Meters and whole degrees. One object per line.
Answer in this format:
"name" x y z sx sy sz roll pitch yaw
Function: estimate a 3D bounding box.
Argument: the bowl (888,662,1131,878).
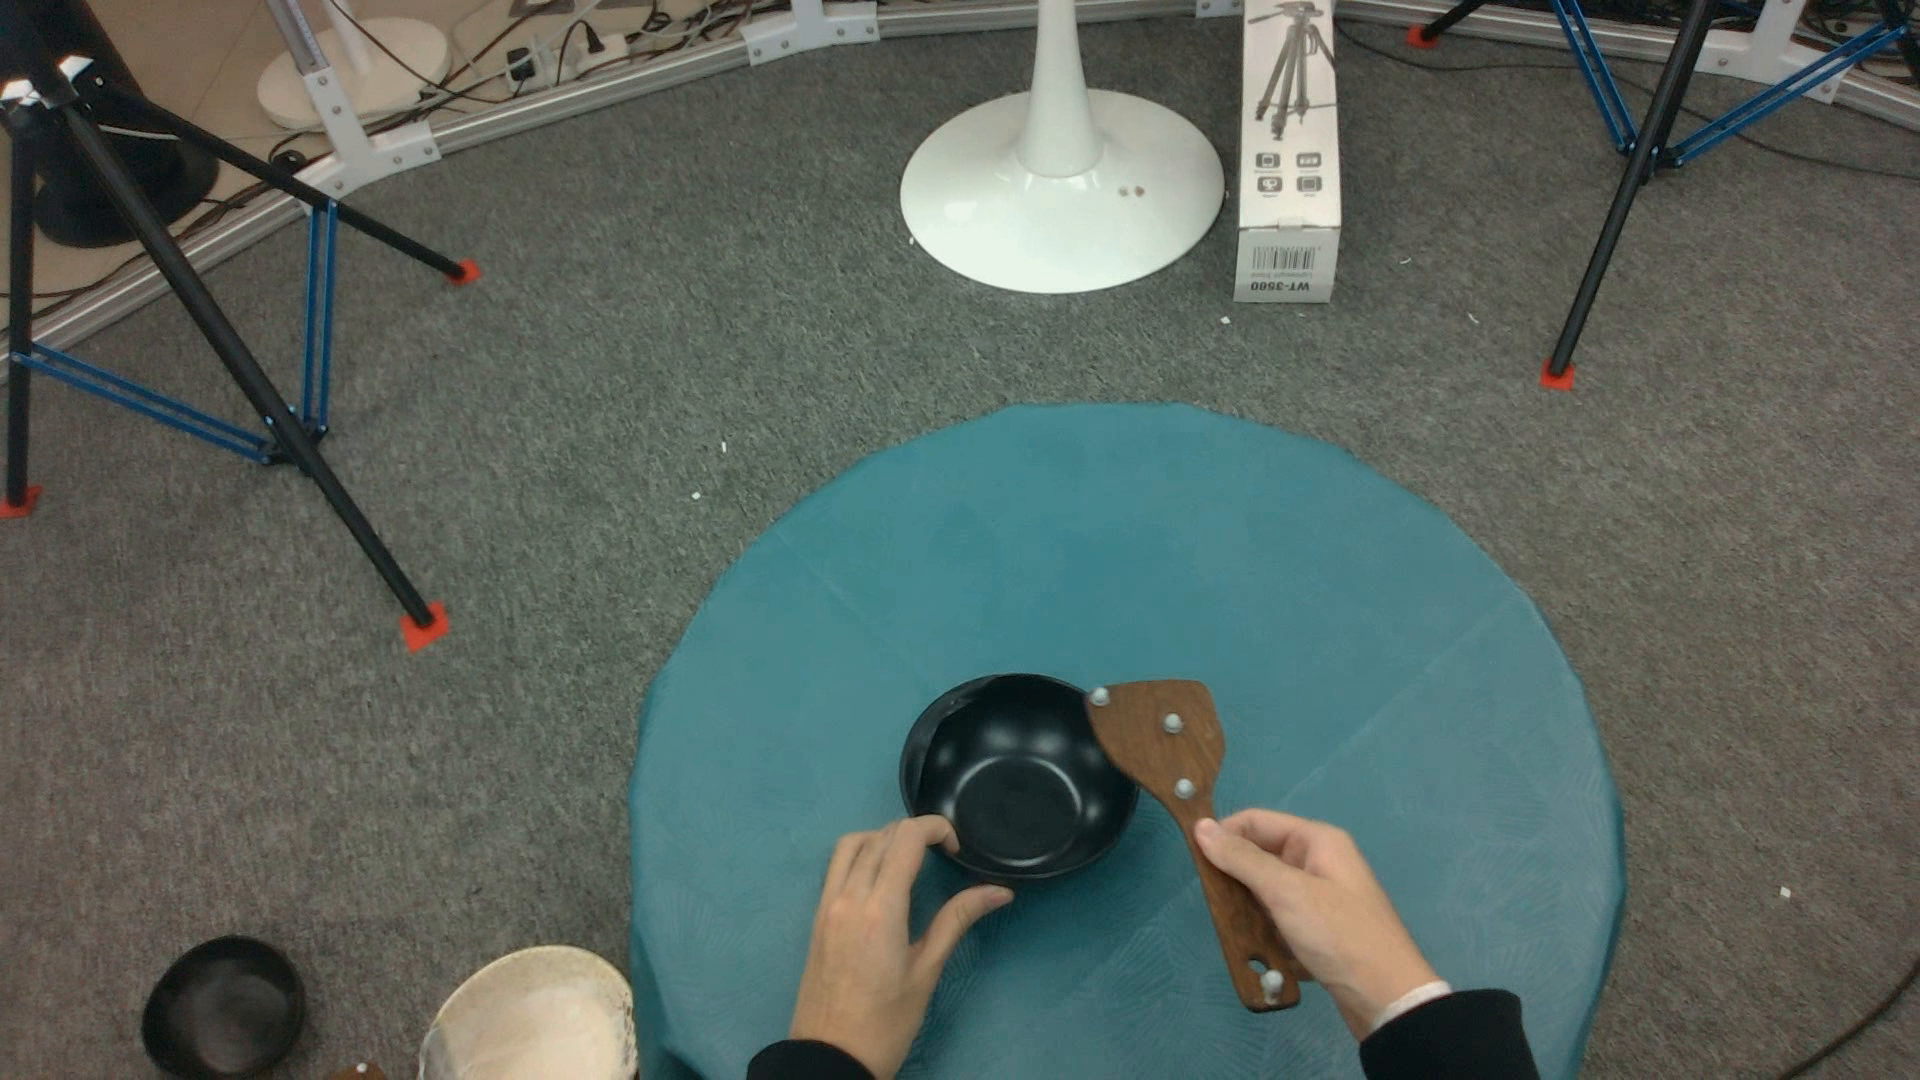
"bowl" 0.027 0.140 0.801 0.140 0.049 0.140 2 47 -2

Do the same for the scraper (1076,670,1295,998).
"scraper" 0.118 0.140 0.692 0.076 0.011 0.212 -3 37 -11
